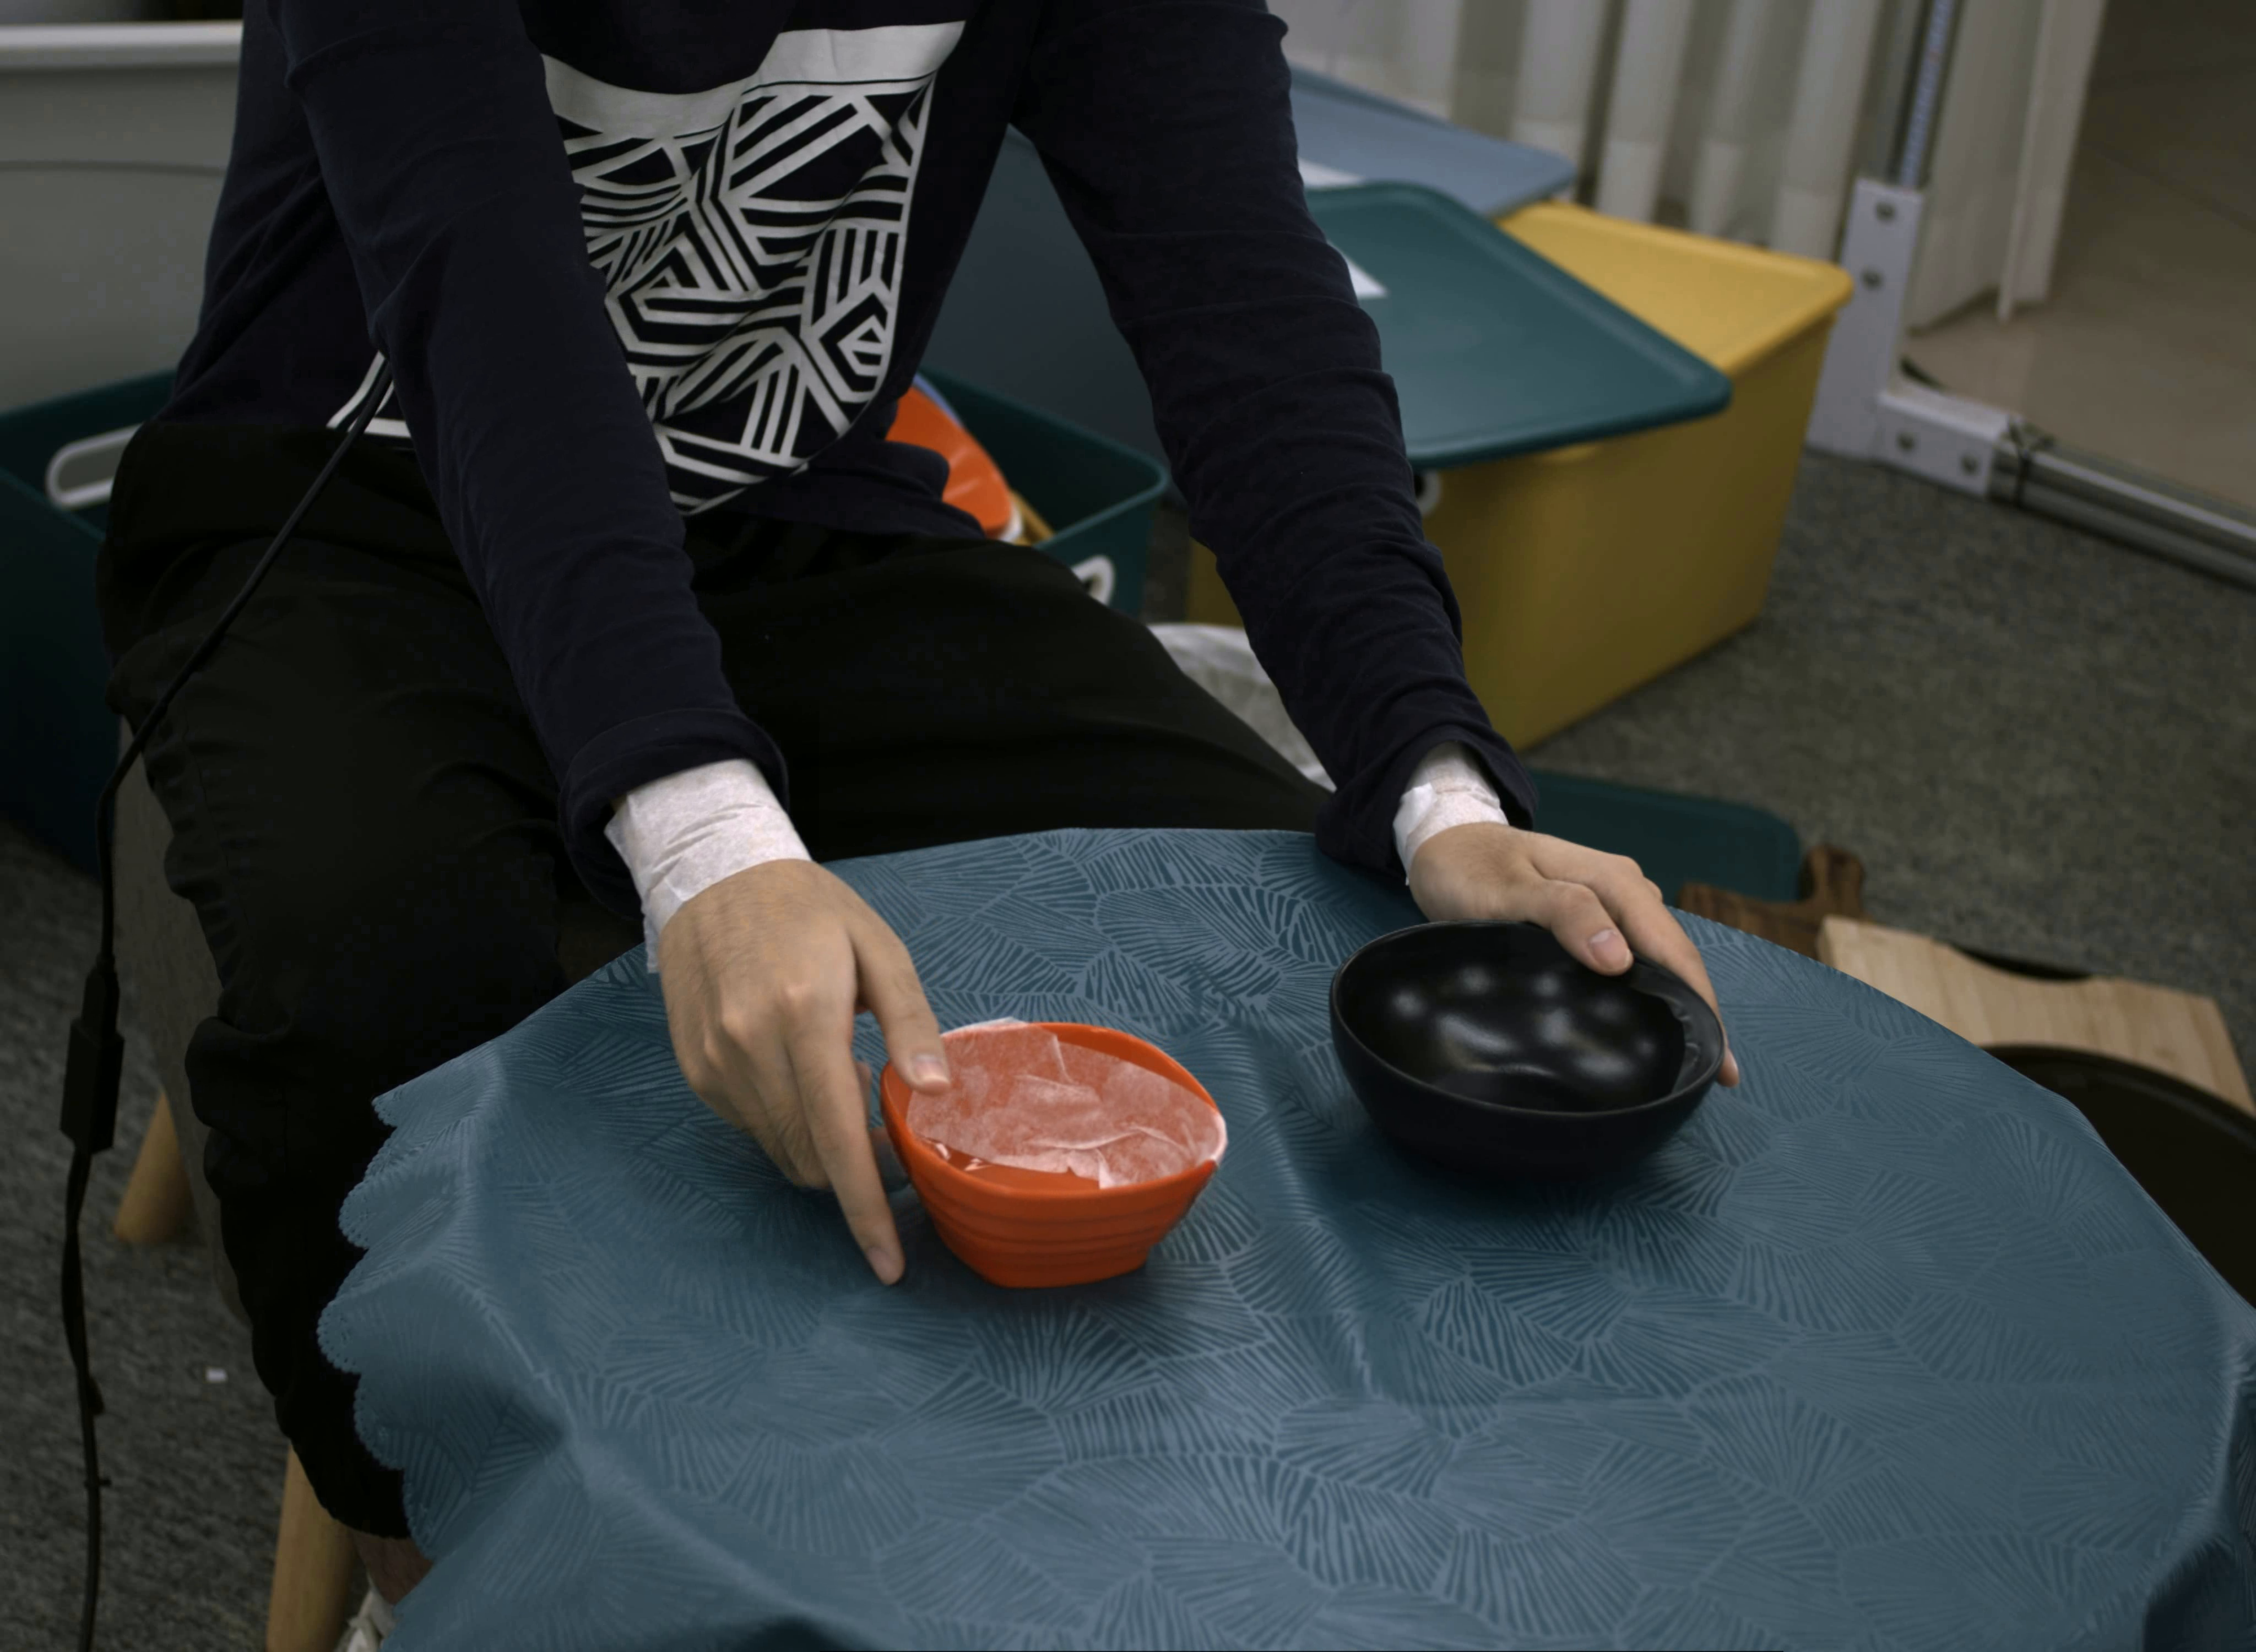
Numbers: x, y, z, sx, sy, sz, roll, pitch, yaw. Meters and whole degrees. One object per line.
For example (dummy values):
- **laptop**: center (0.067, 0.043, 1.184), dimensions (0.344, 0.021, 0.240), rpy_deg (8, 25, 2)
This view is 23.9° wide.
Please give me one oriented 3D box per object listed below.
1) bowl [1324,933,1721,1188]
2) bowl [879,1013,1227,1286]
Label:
- **bowl**: center (0.135, 0.089, 1.857), dimensions (0.139, 0.049, 0.141), rpy_deg (4, 23, -2)
- **bowl**: center (-0.027, 0.112, 1.764), dimensions (0.118, 0.051, 0.119), rpy_deg (5, 29, -3)
